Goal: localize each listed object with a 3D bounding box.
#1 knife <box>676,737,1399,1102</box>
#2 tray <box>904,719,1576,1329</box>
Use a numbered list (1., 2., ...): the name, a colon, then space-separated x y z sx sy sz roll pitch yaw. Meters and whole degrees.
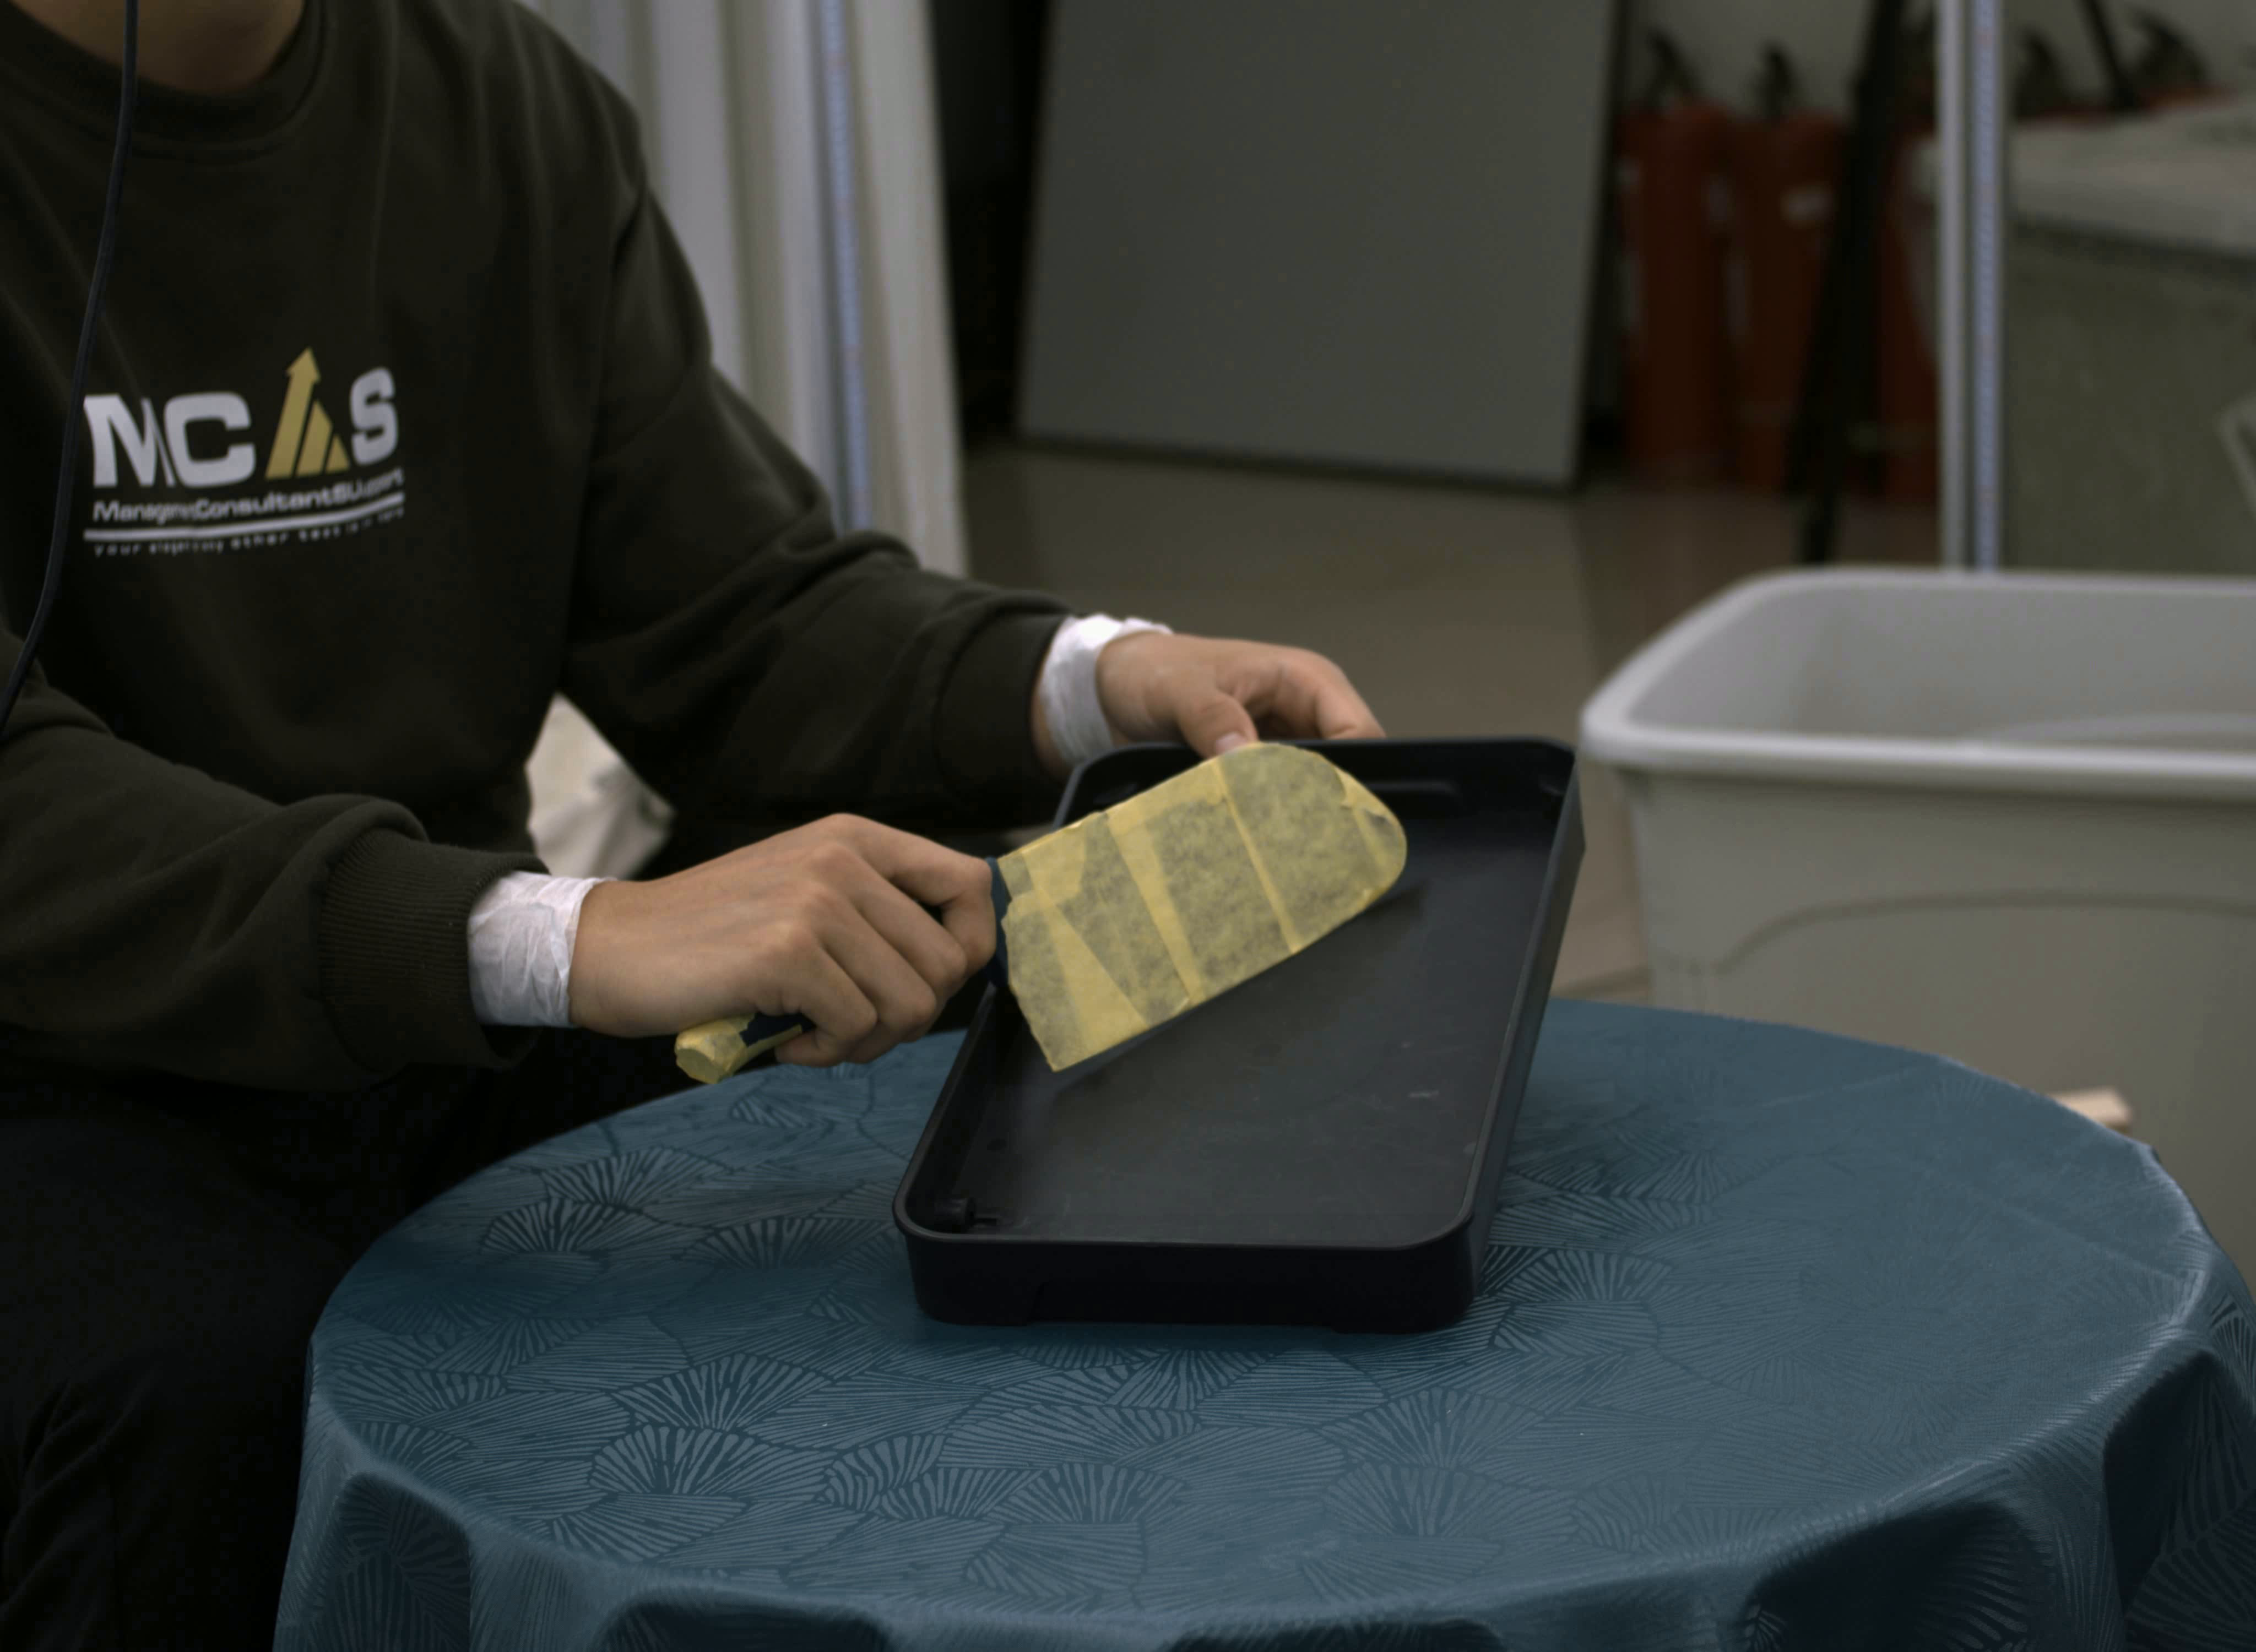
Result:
1. knife: -0.022 0.040 1.776 0.284 0.082 0.027 -22 -4 -29
2. tray: 0.045 0.060 1.765 0.183 0.037 0.318 -3 29 13
